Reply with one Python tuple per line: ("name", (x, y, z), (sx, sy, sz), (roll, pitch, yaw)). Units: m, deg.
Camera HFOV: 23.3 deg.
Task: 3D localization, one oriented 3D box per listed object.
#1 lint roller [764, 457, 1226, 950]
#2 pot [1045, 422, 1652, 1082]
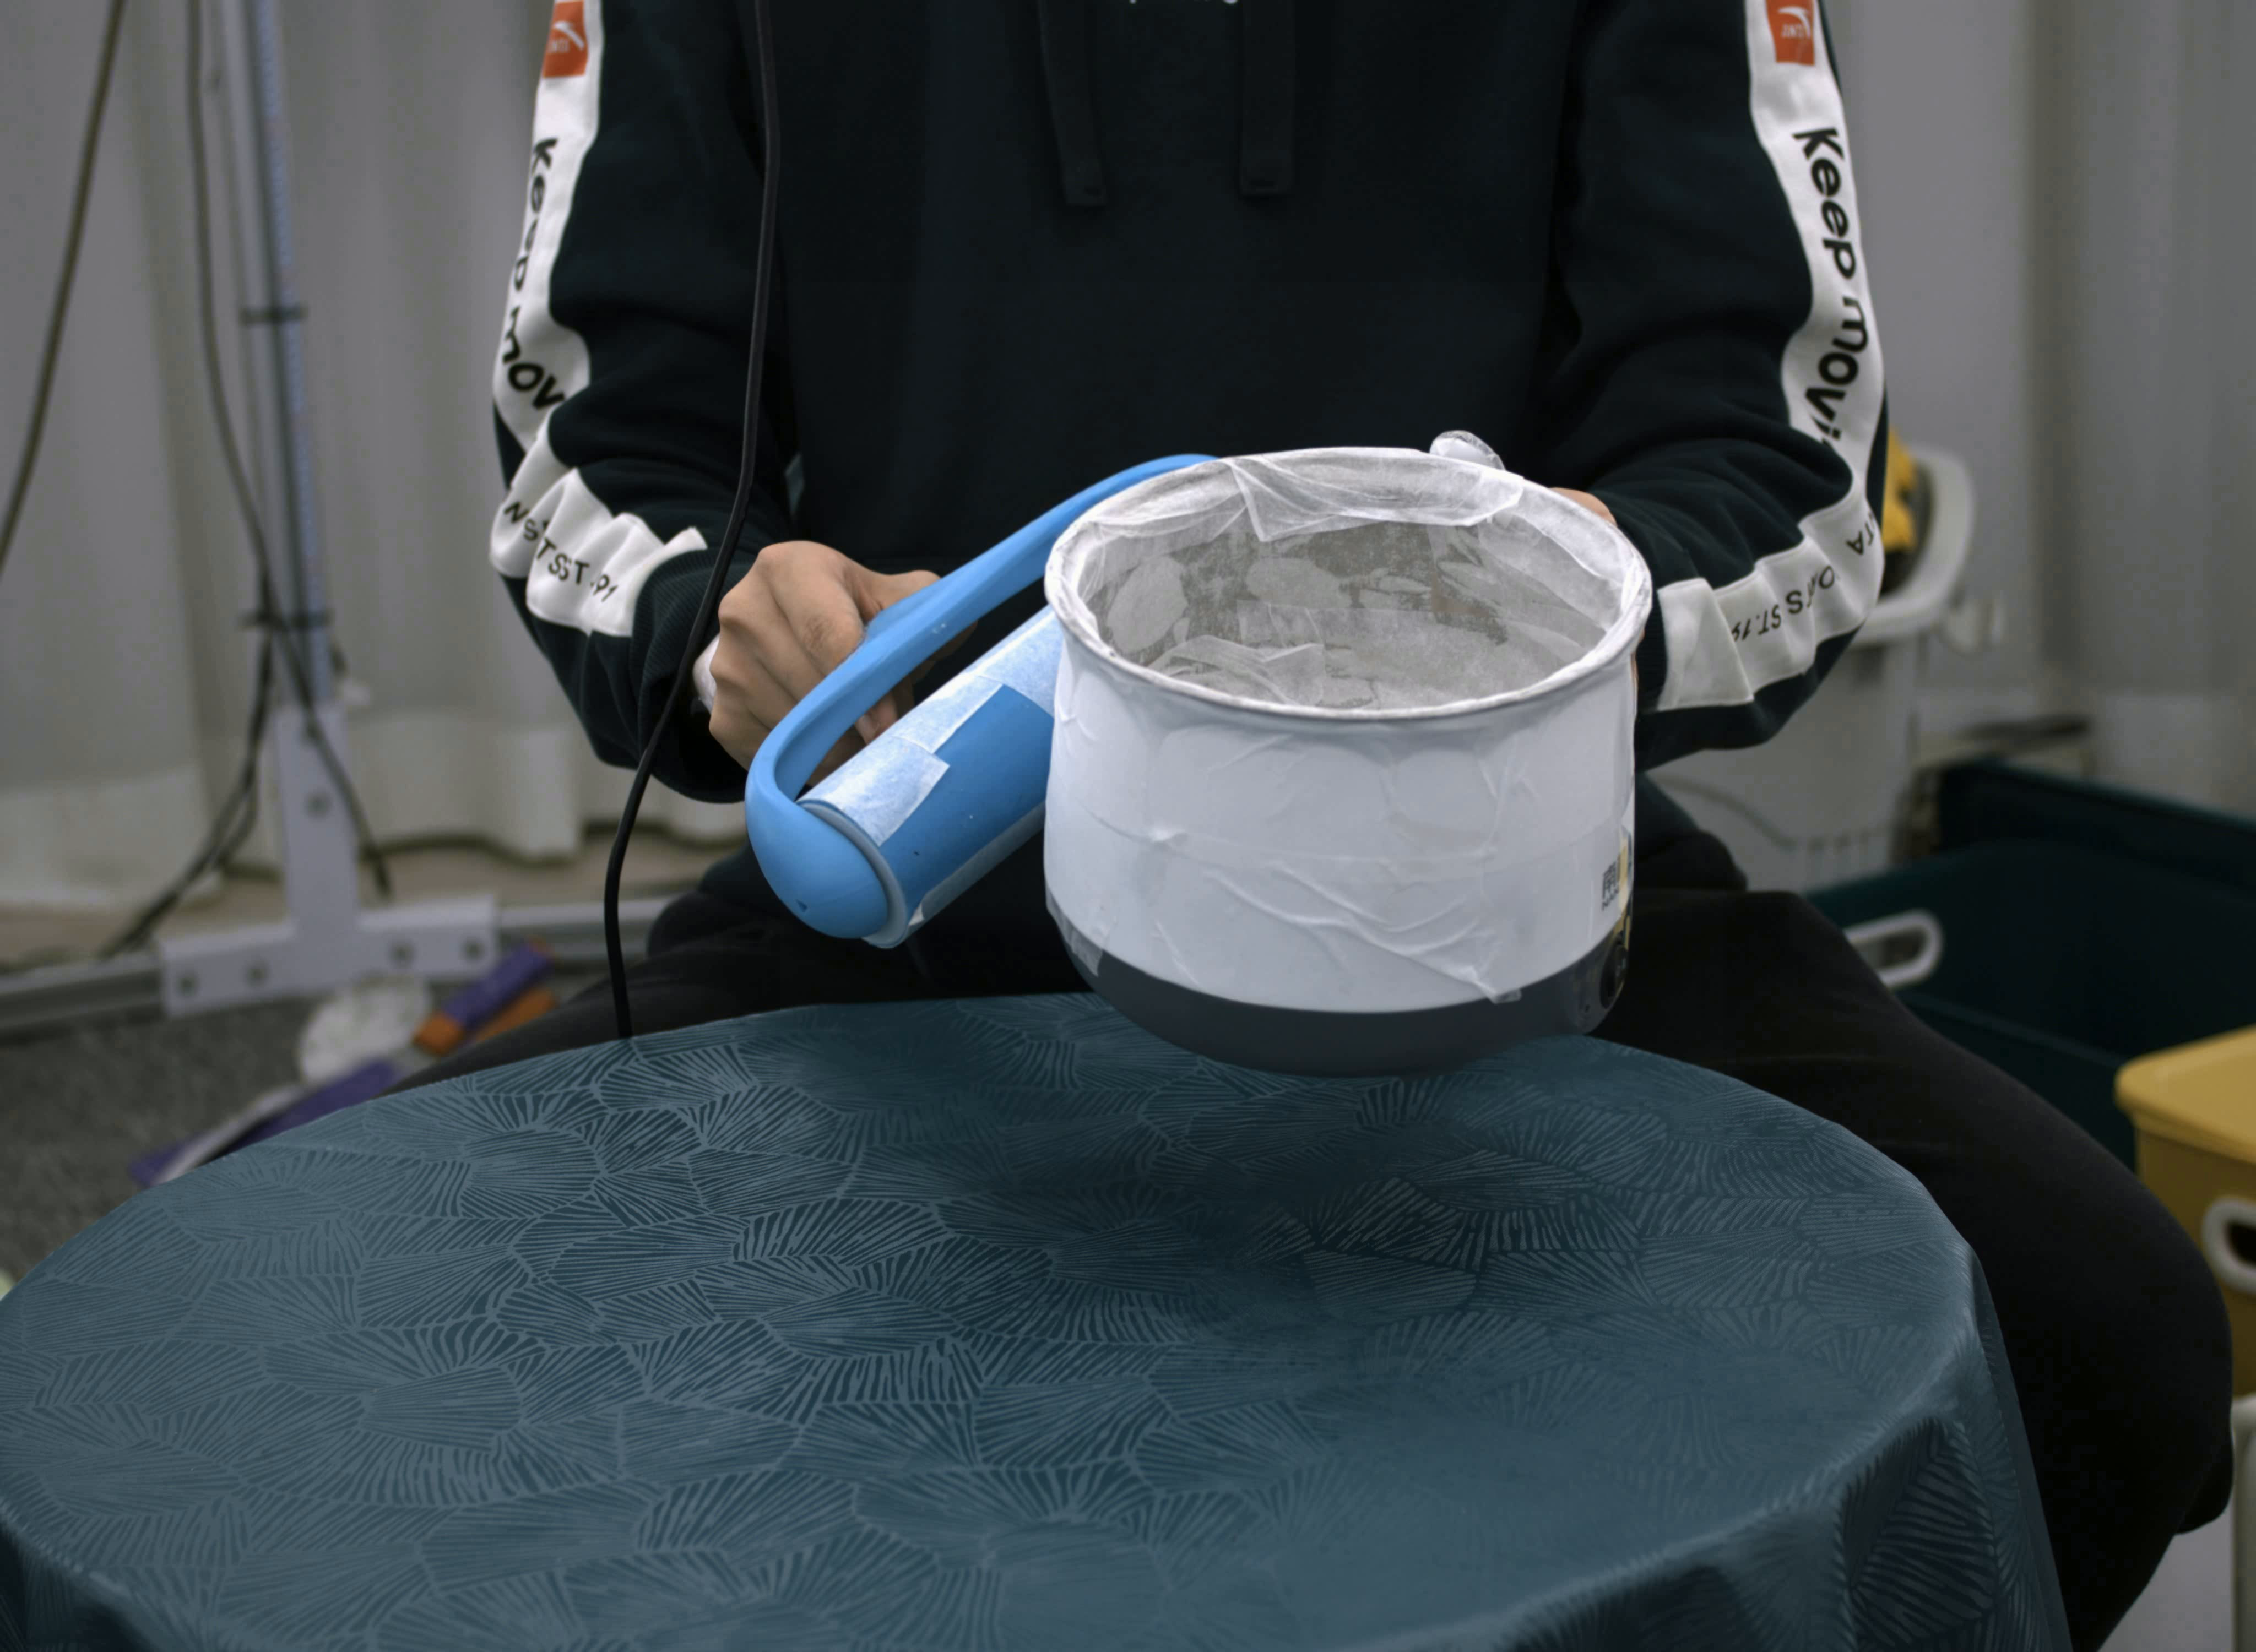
("lint roller", (-0.058, -0.039, 1.740), (0.181, 0.067, 0.230), (1, 36, 48))
("pot", (0.073, -0.031, 1.643), (0.179, 0.135, 0.235), (11, 31, 18))
